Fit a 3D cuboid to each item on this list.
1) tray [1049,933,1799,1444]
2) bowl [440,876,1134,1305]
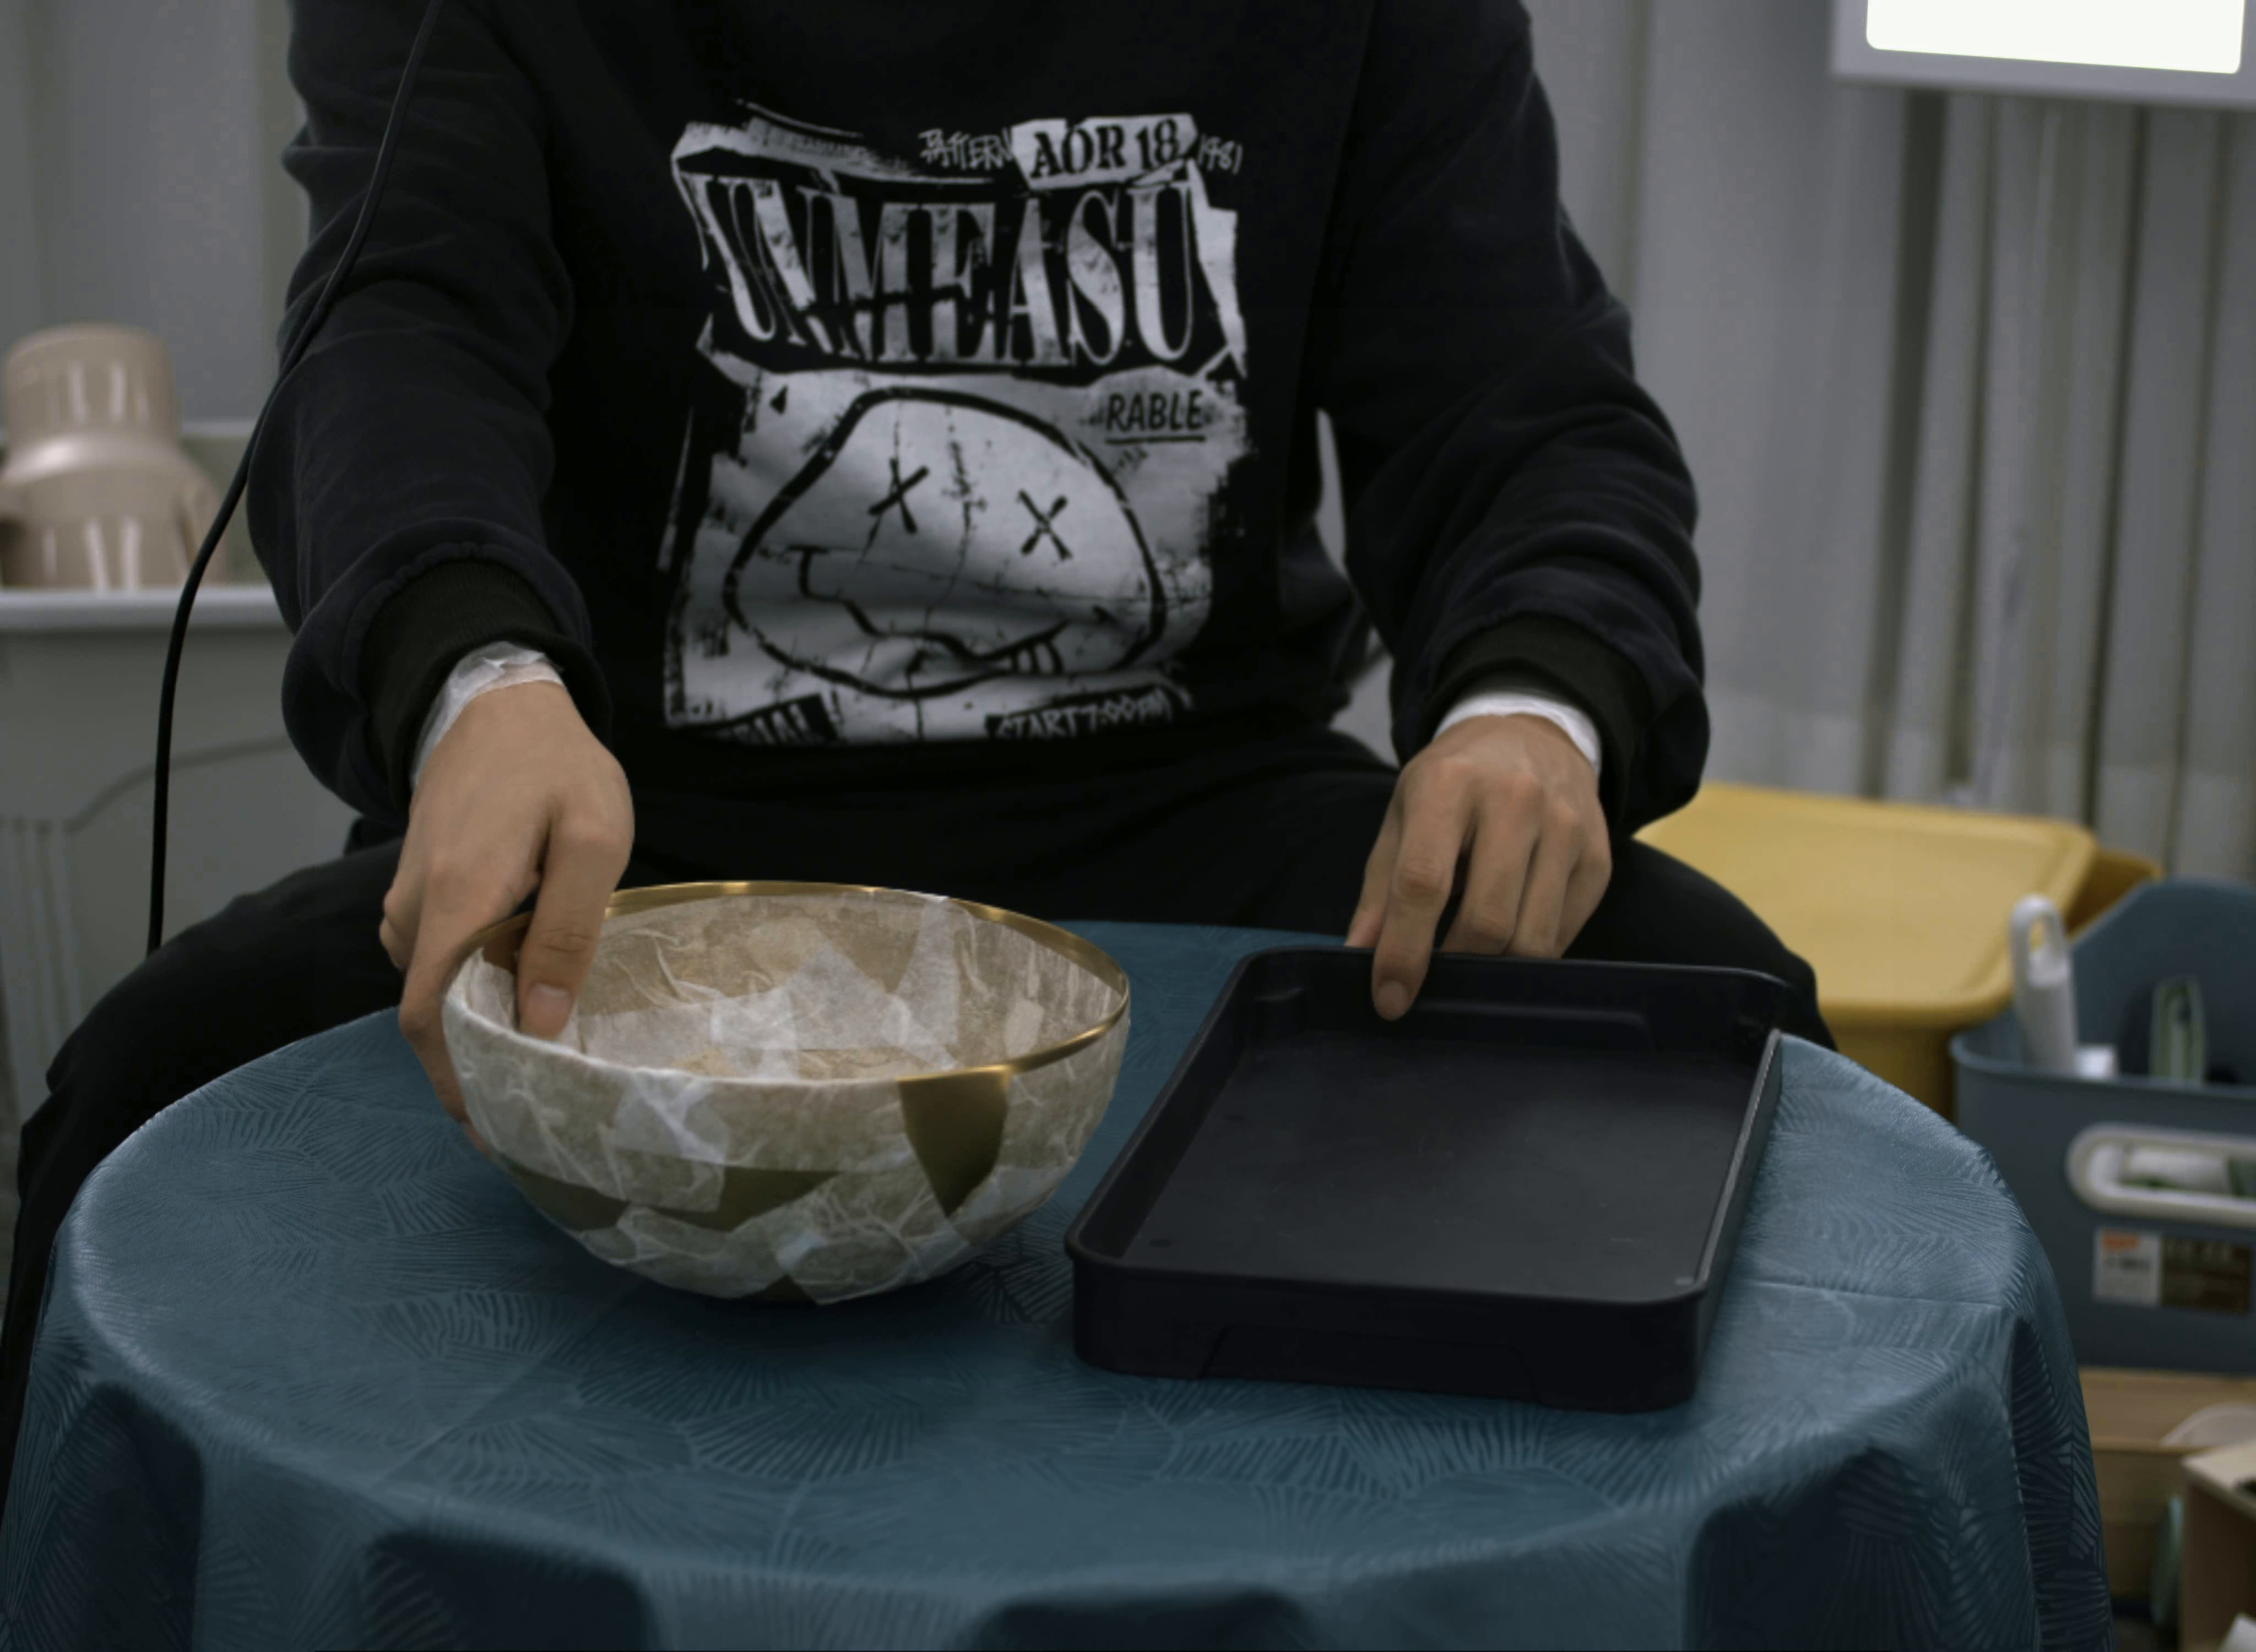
[{"bbox_3d":[0.098,0.103,1.607,0.183,0.037,0.317,5,18,12],"label":"tray"},{"bbox_3d":[-0.096,0.085,1.546,0.214,0.095,0.213,1,16,0],"label":"bowl"}]
